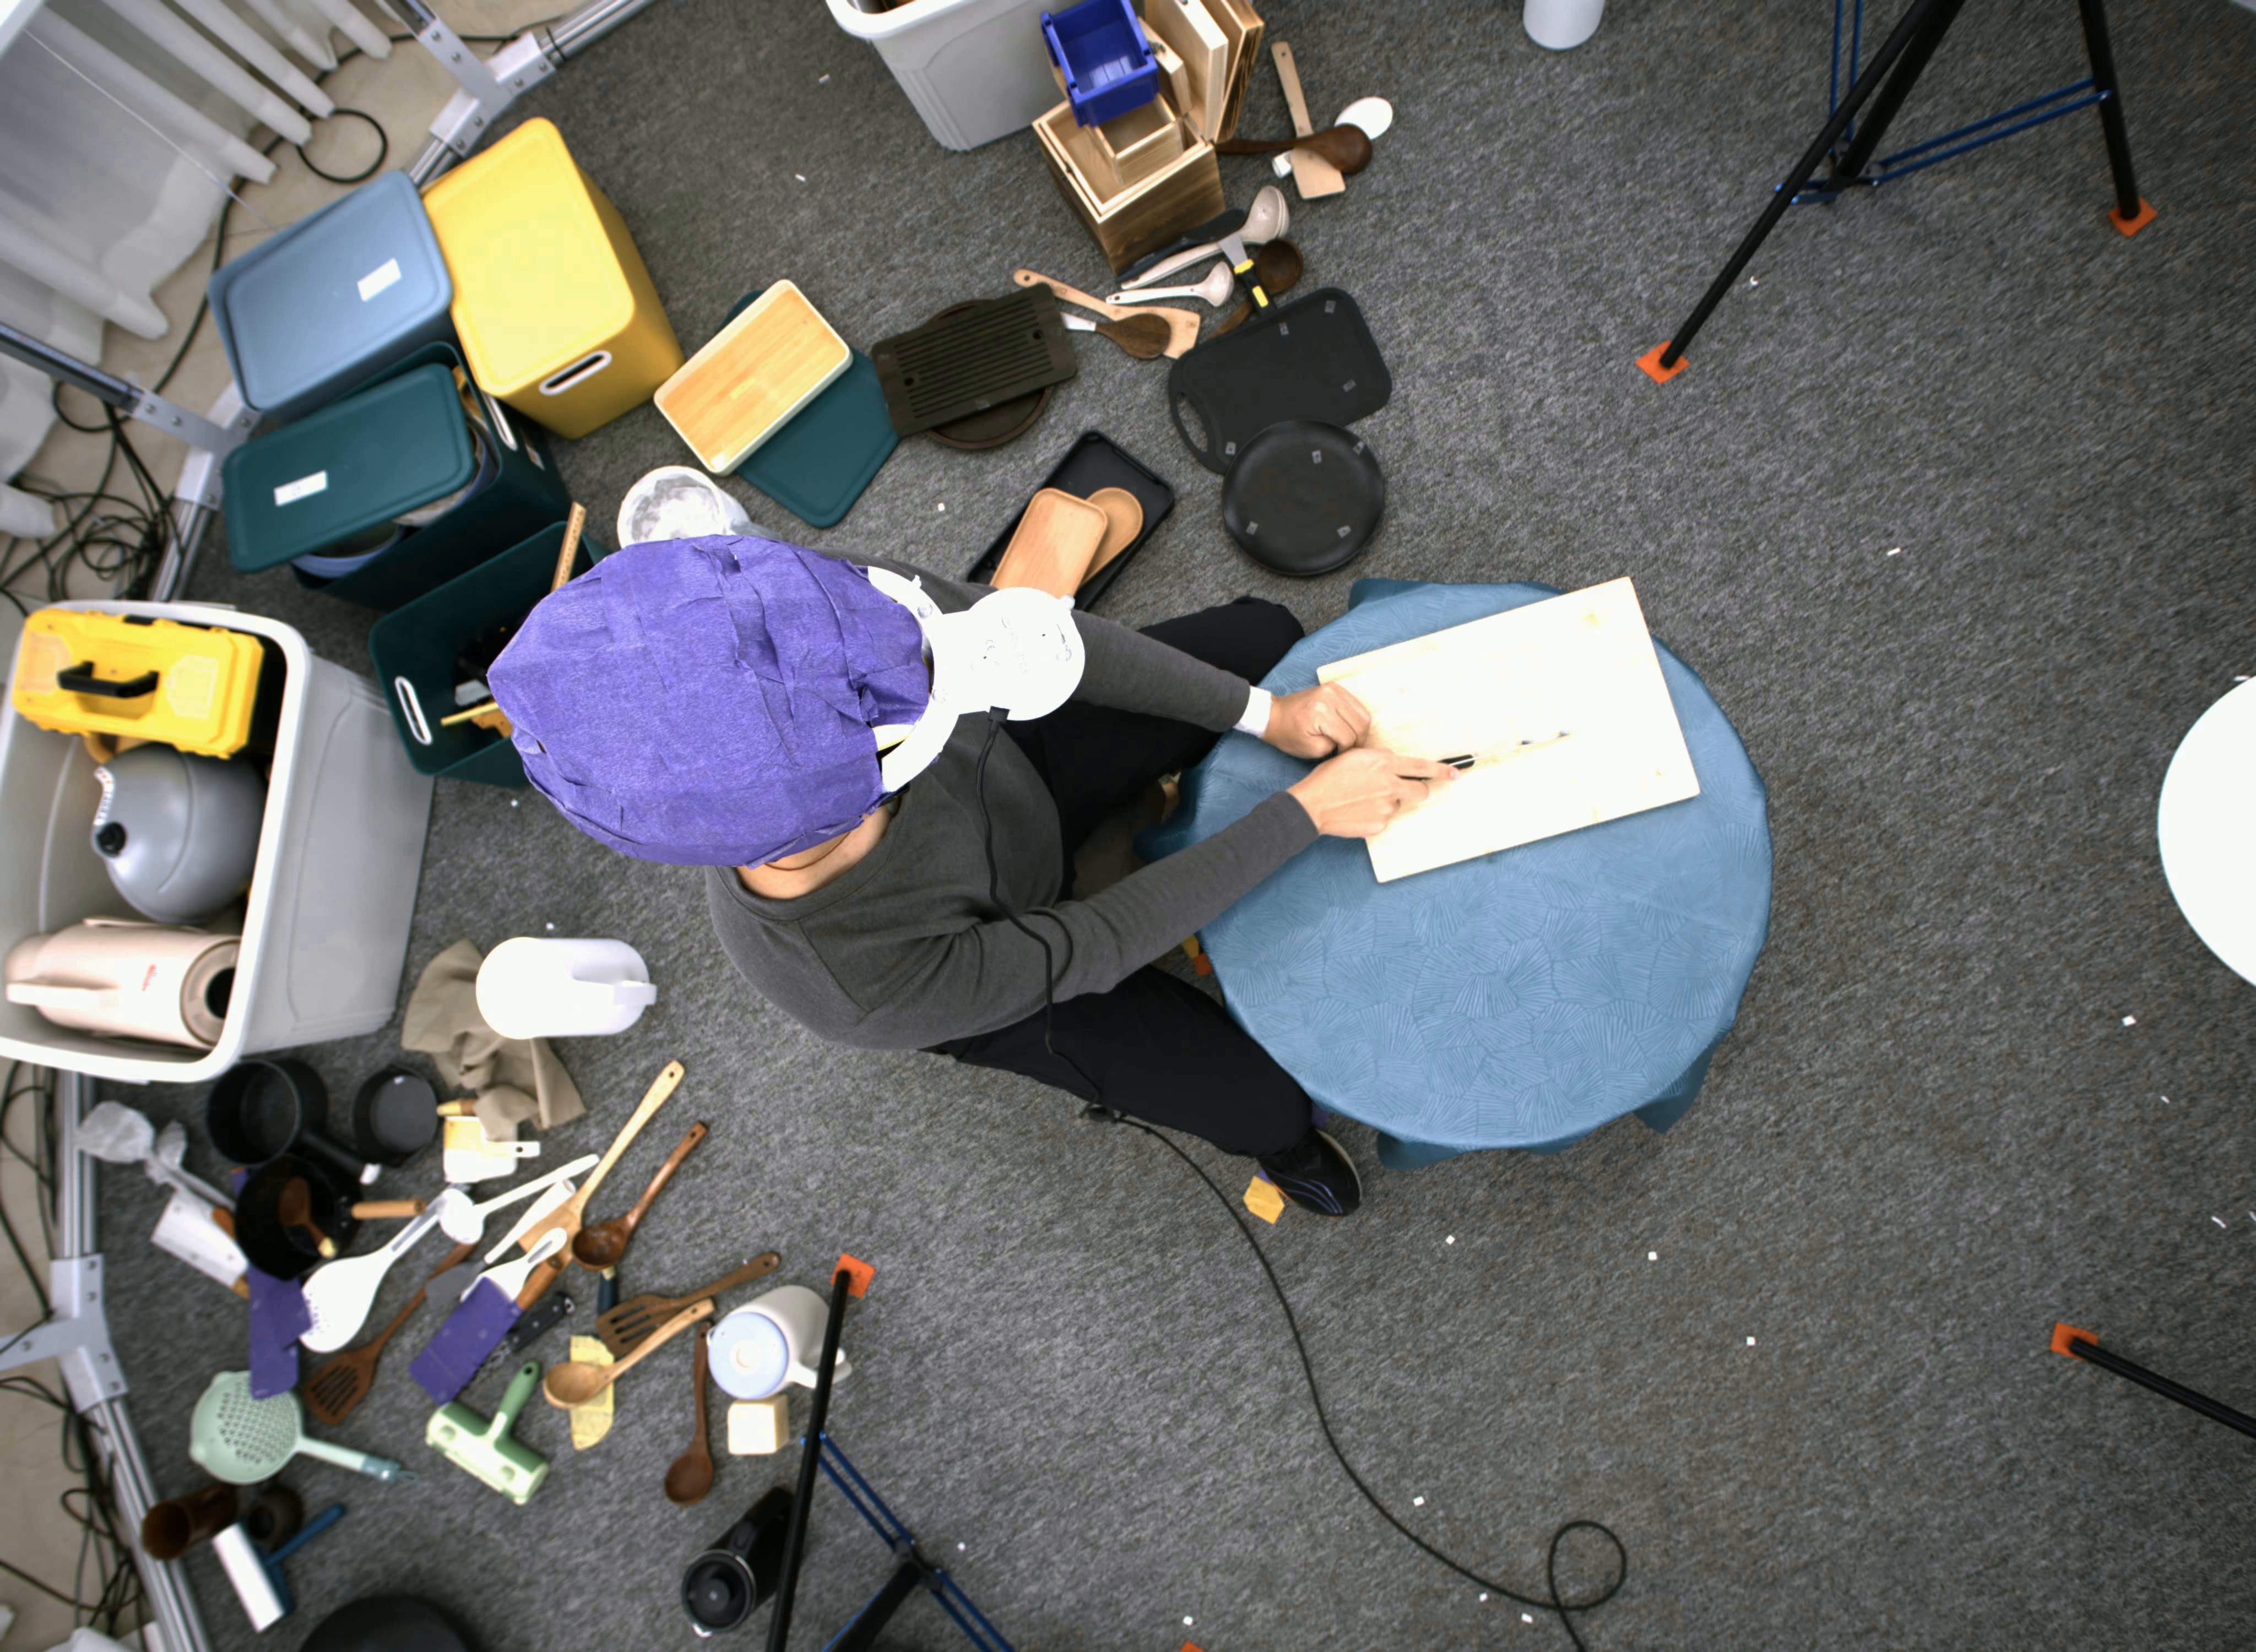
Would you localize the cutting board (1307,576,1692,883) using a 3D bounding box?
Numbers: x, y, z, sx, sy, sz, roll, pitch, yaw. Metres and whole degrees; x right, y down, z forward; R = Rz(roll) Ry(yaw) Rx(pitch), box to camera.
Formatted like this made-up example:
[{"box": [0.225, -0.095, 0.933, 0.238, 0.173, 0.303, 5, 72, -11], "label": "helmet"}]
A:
[{"box": [0.388, -0.102, 1.440, 0.350, 0.023, 0.249, -17, 83, 9], "label": "cutting board"}]

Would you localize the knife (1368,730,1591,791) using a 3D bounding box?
[{"box": [0.363, -0.073, 1.411, 0.238, 0.024, 0.016, -14, 80, 1], "label": "knife"}]
